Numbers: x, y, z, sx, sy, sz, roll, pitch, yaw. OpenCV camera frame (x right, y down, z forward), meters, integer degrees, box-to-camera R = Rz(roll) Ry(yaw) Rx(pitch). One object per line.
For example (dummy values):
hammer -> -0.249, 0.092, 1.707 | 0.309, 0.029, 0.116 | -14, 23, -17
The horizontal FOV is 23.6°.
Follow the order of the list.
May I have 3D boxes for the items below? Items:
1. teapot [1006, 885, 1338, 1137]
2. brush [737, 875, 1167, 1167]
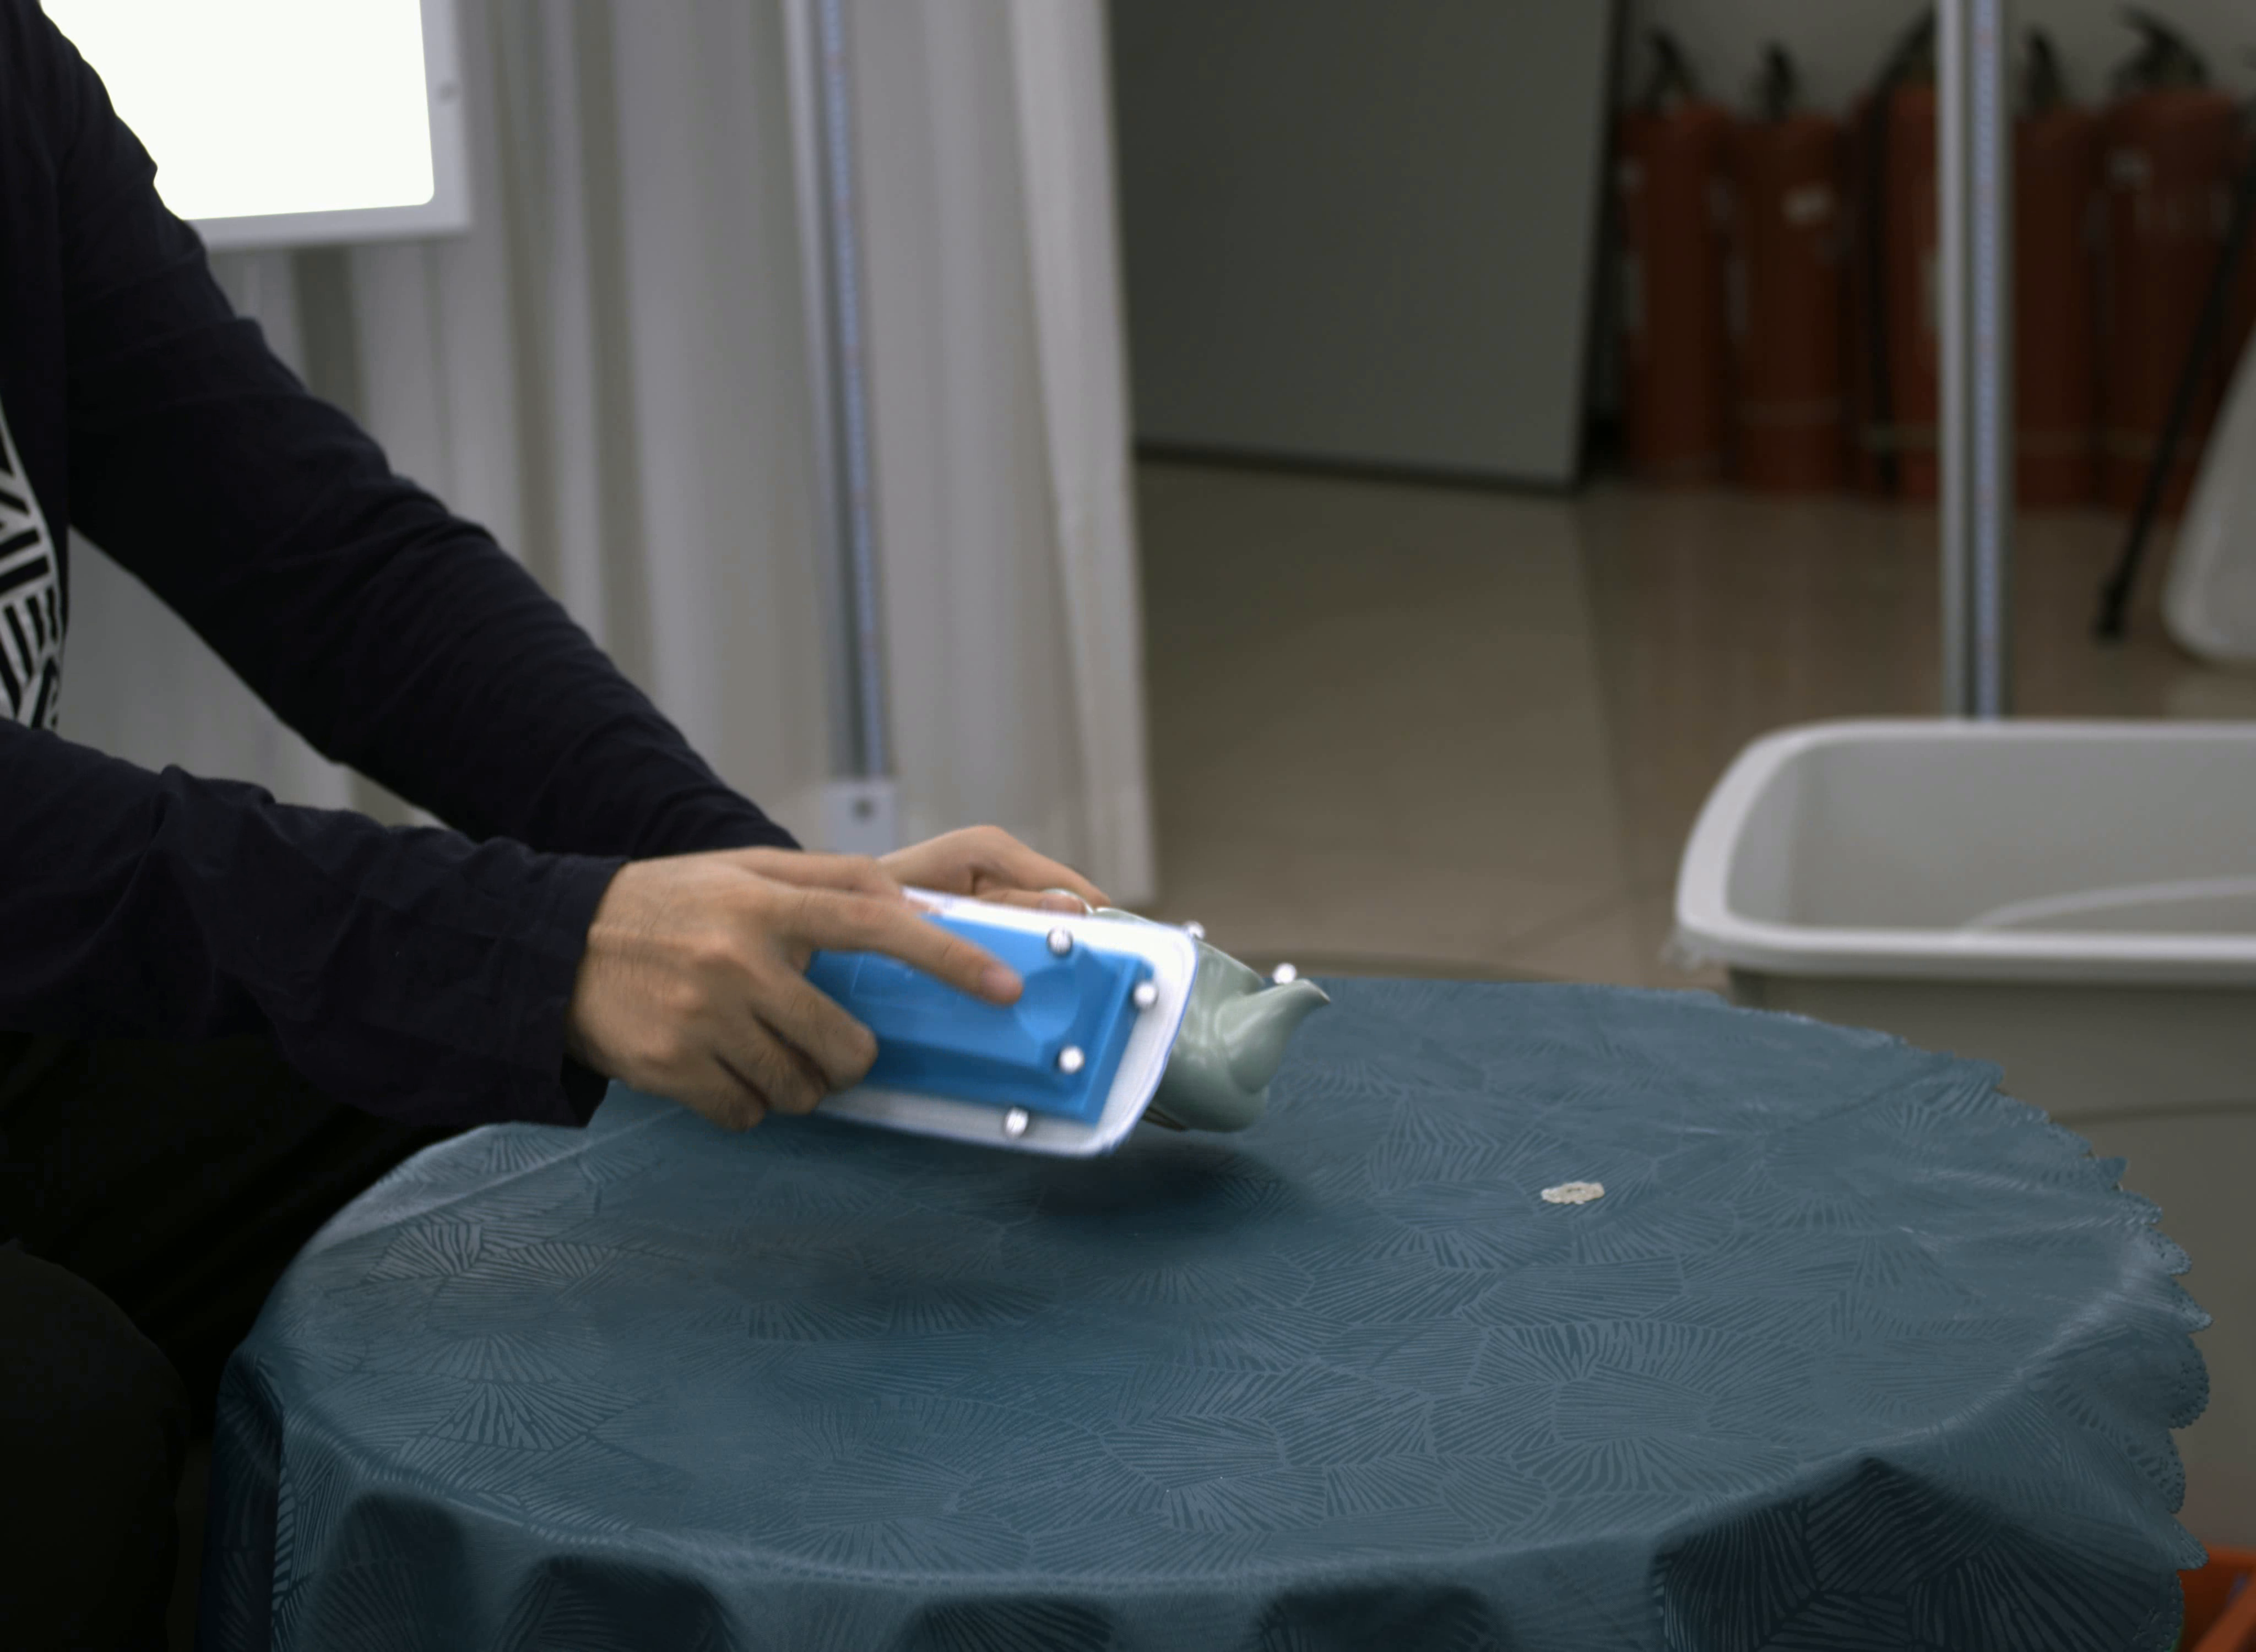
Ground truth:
teapot -> 0.005, 0.064, 1.792 | 0.138, 0.062, 0.094 | 21, -6, 39
brush -> -0.061, 0.056, 1.691 | 0.145, 0.084, 0.055 | 11, -24, 36
